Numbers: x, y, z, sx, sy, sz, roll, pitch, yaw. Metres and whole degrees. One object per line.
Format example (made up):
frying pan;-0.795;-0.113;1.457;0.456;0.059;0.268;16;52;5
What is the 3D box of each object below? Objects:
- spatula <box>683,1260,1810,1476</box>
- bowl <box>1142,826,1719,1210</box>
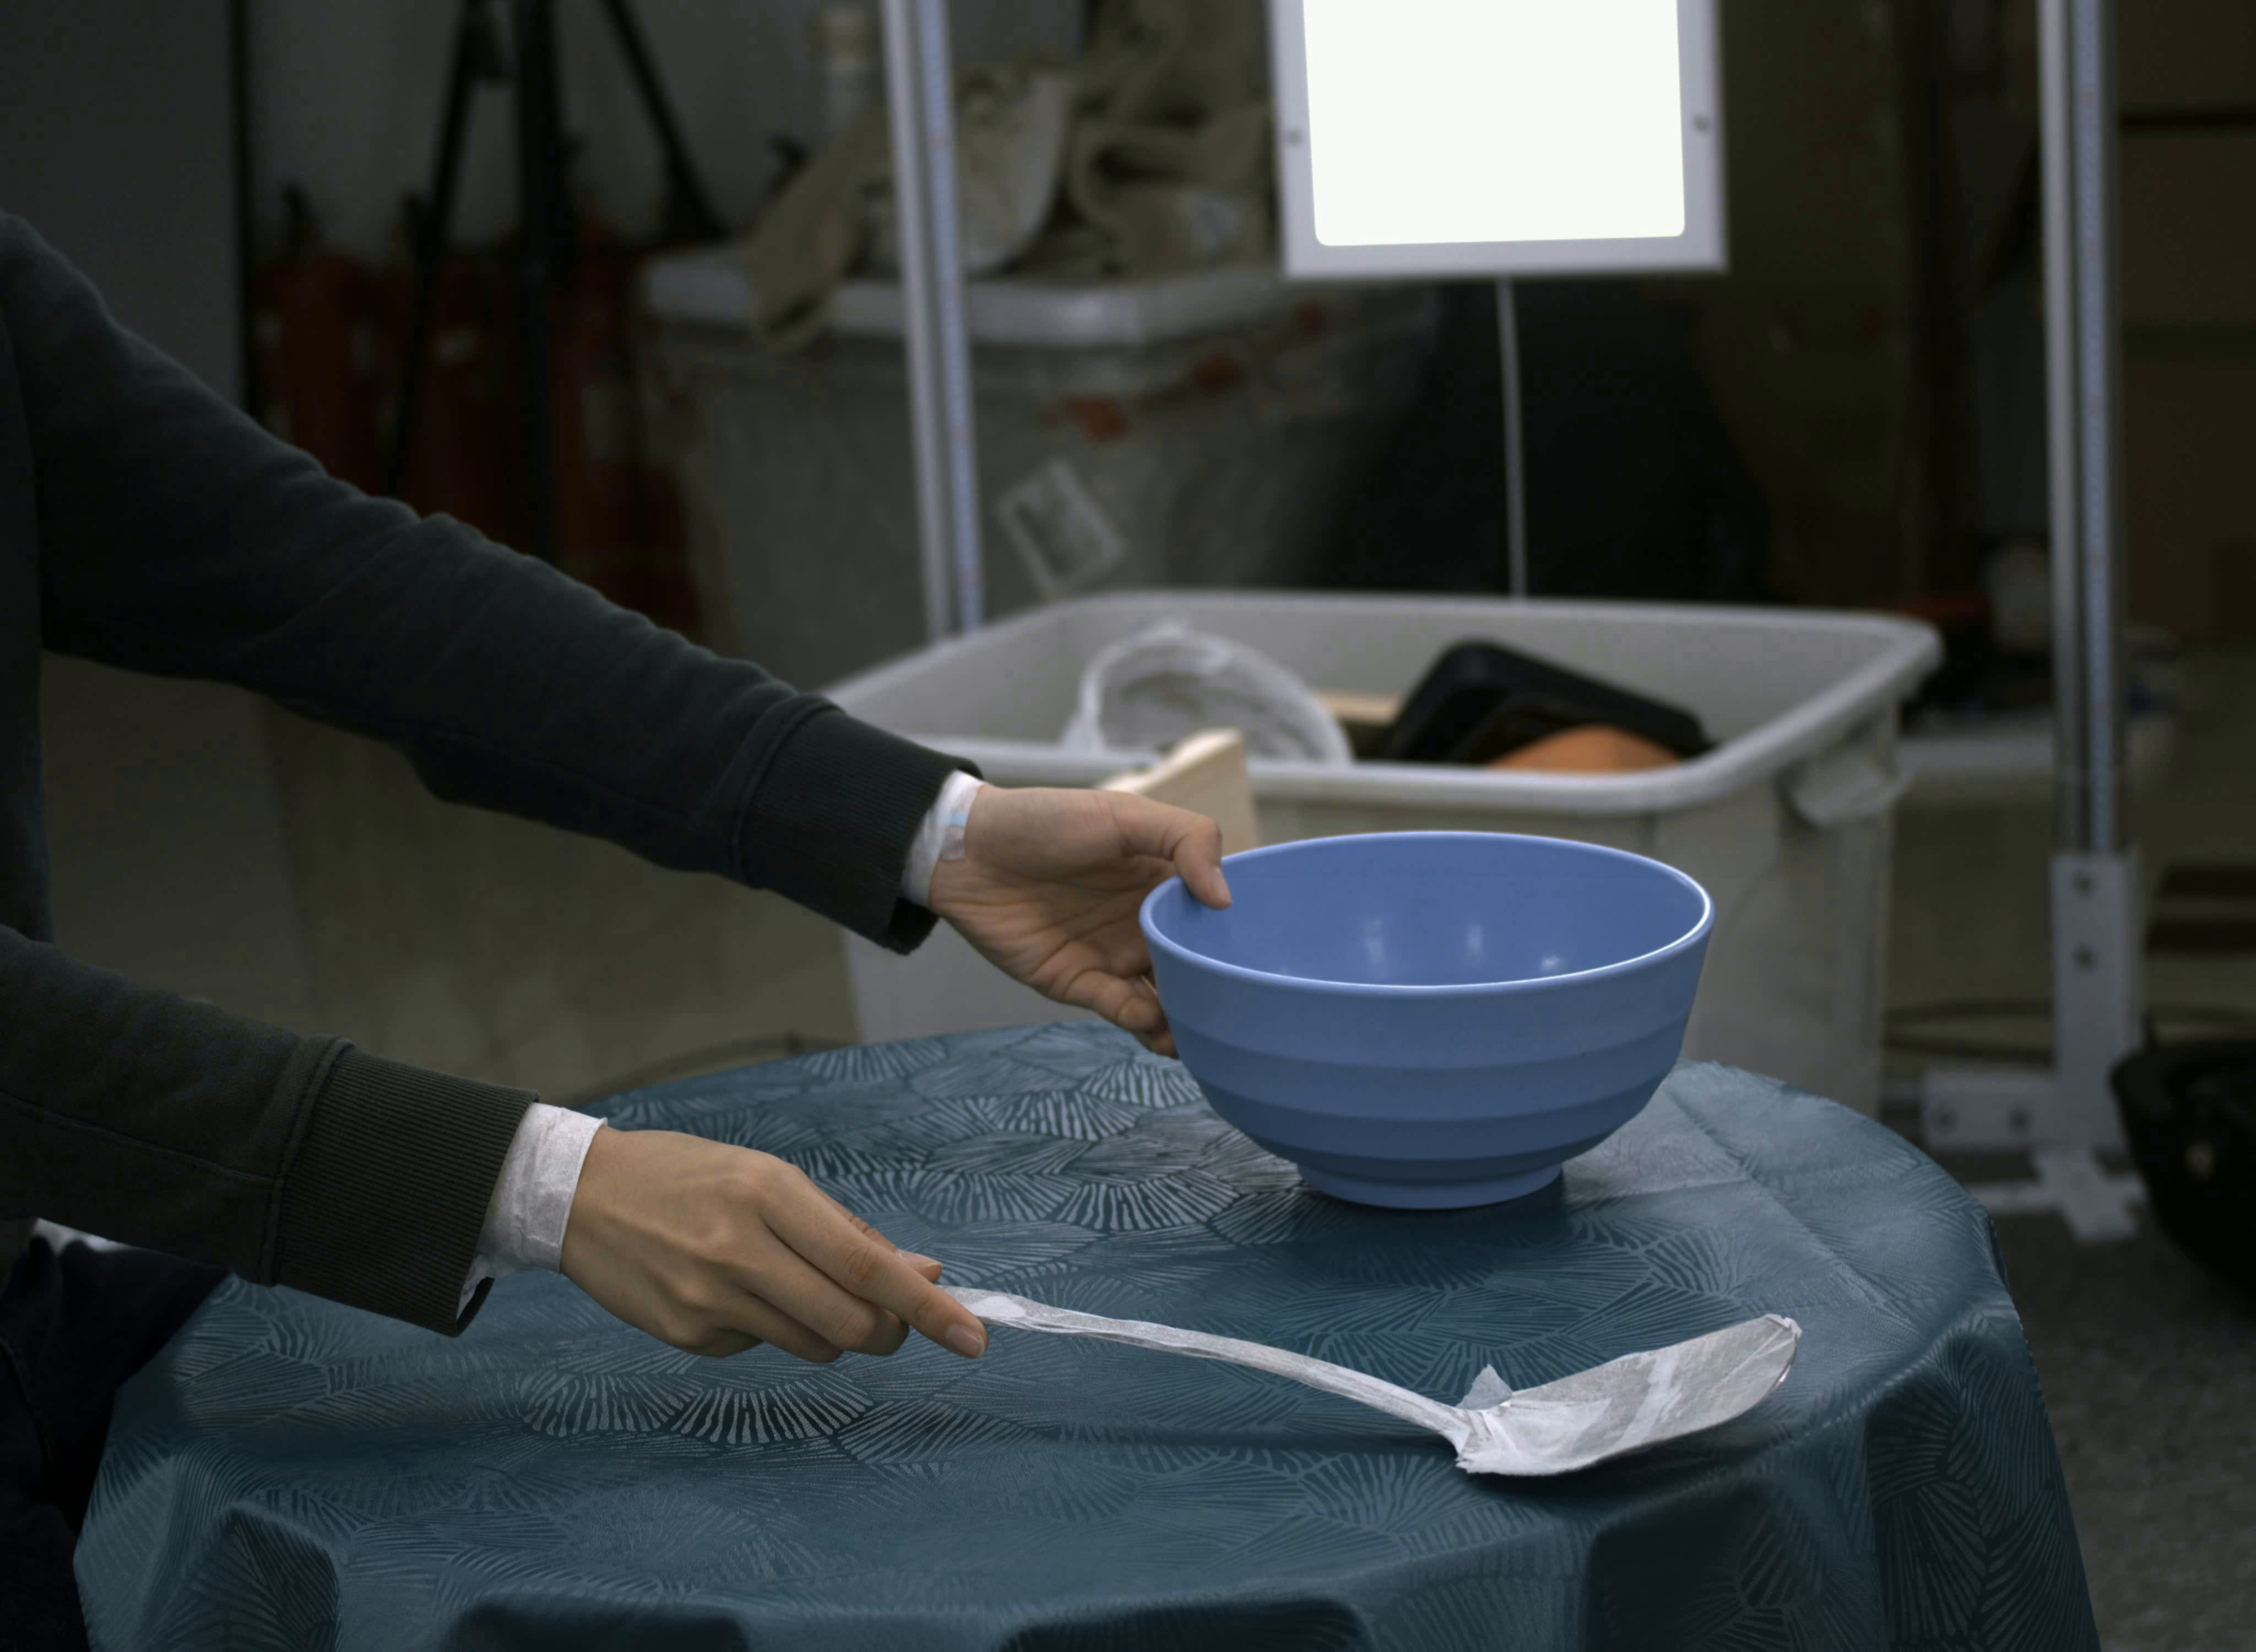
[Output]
spatula;0.024;0.151;1.658;0.370;0.045;0.097;8;21;22
bowl;0.103;0.071;1.876;0.196;0.096;0.196;-1;15;-1
